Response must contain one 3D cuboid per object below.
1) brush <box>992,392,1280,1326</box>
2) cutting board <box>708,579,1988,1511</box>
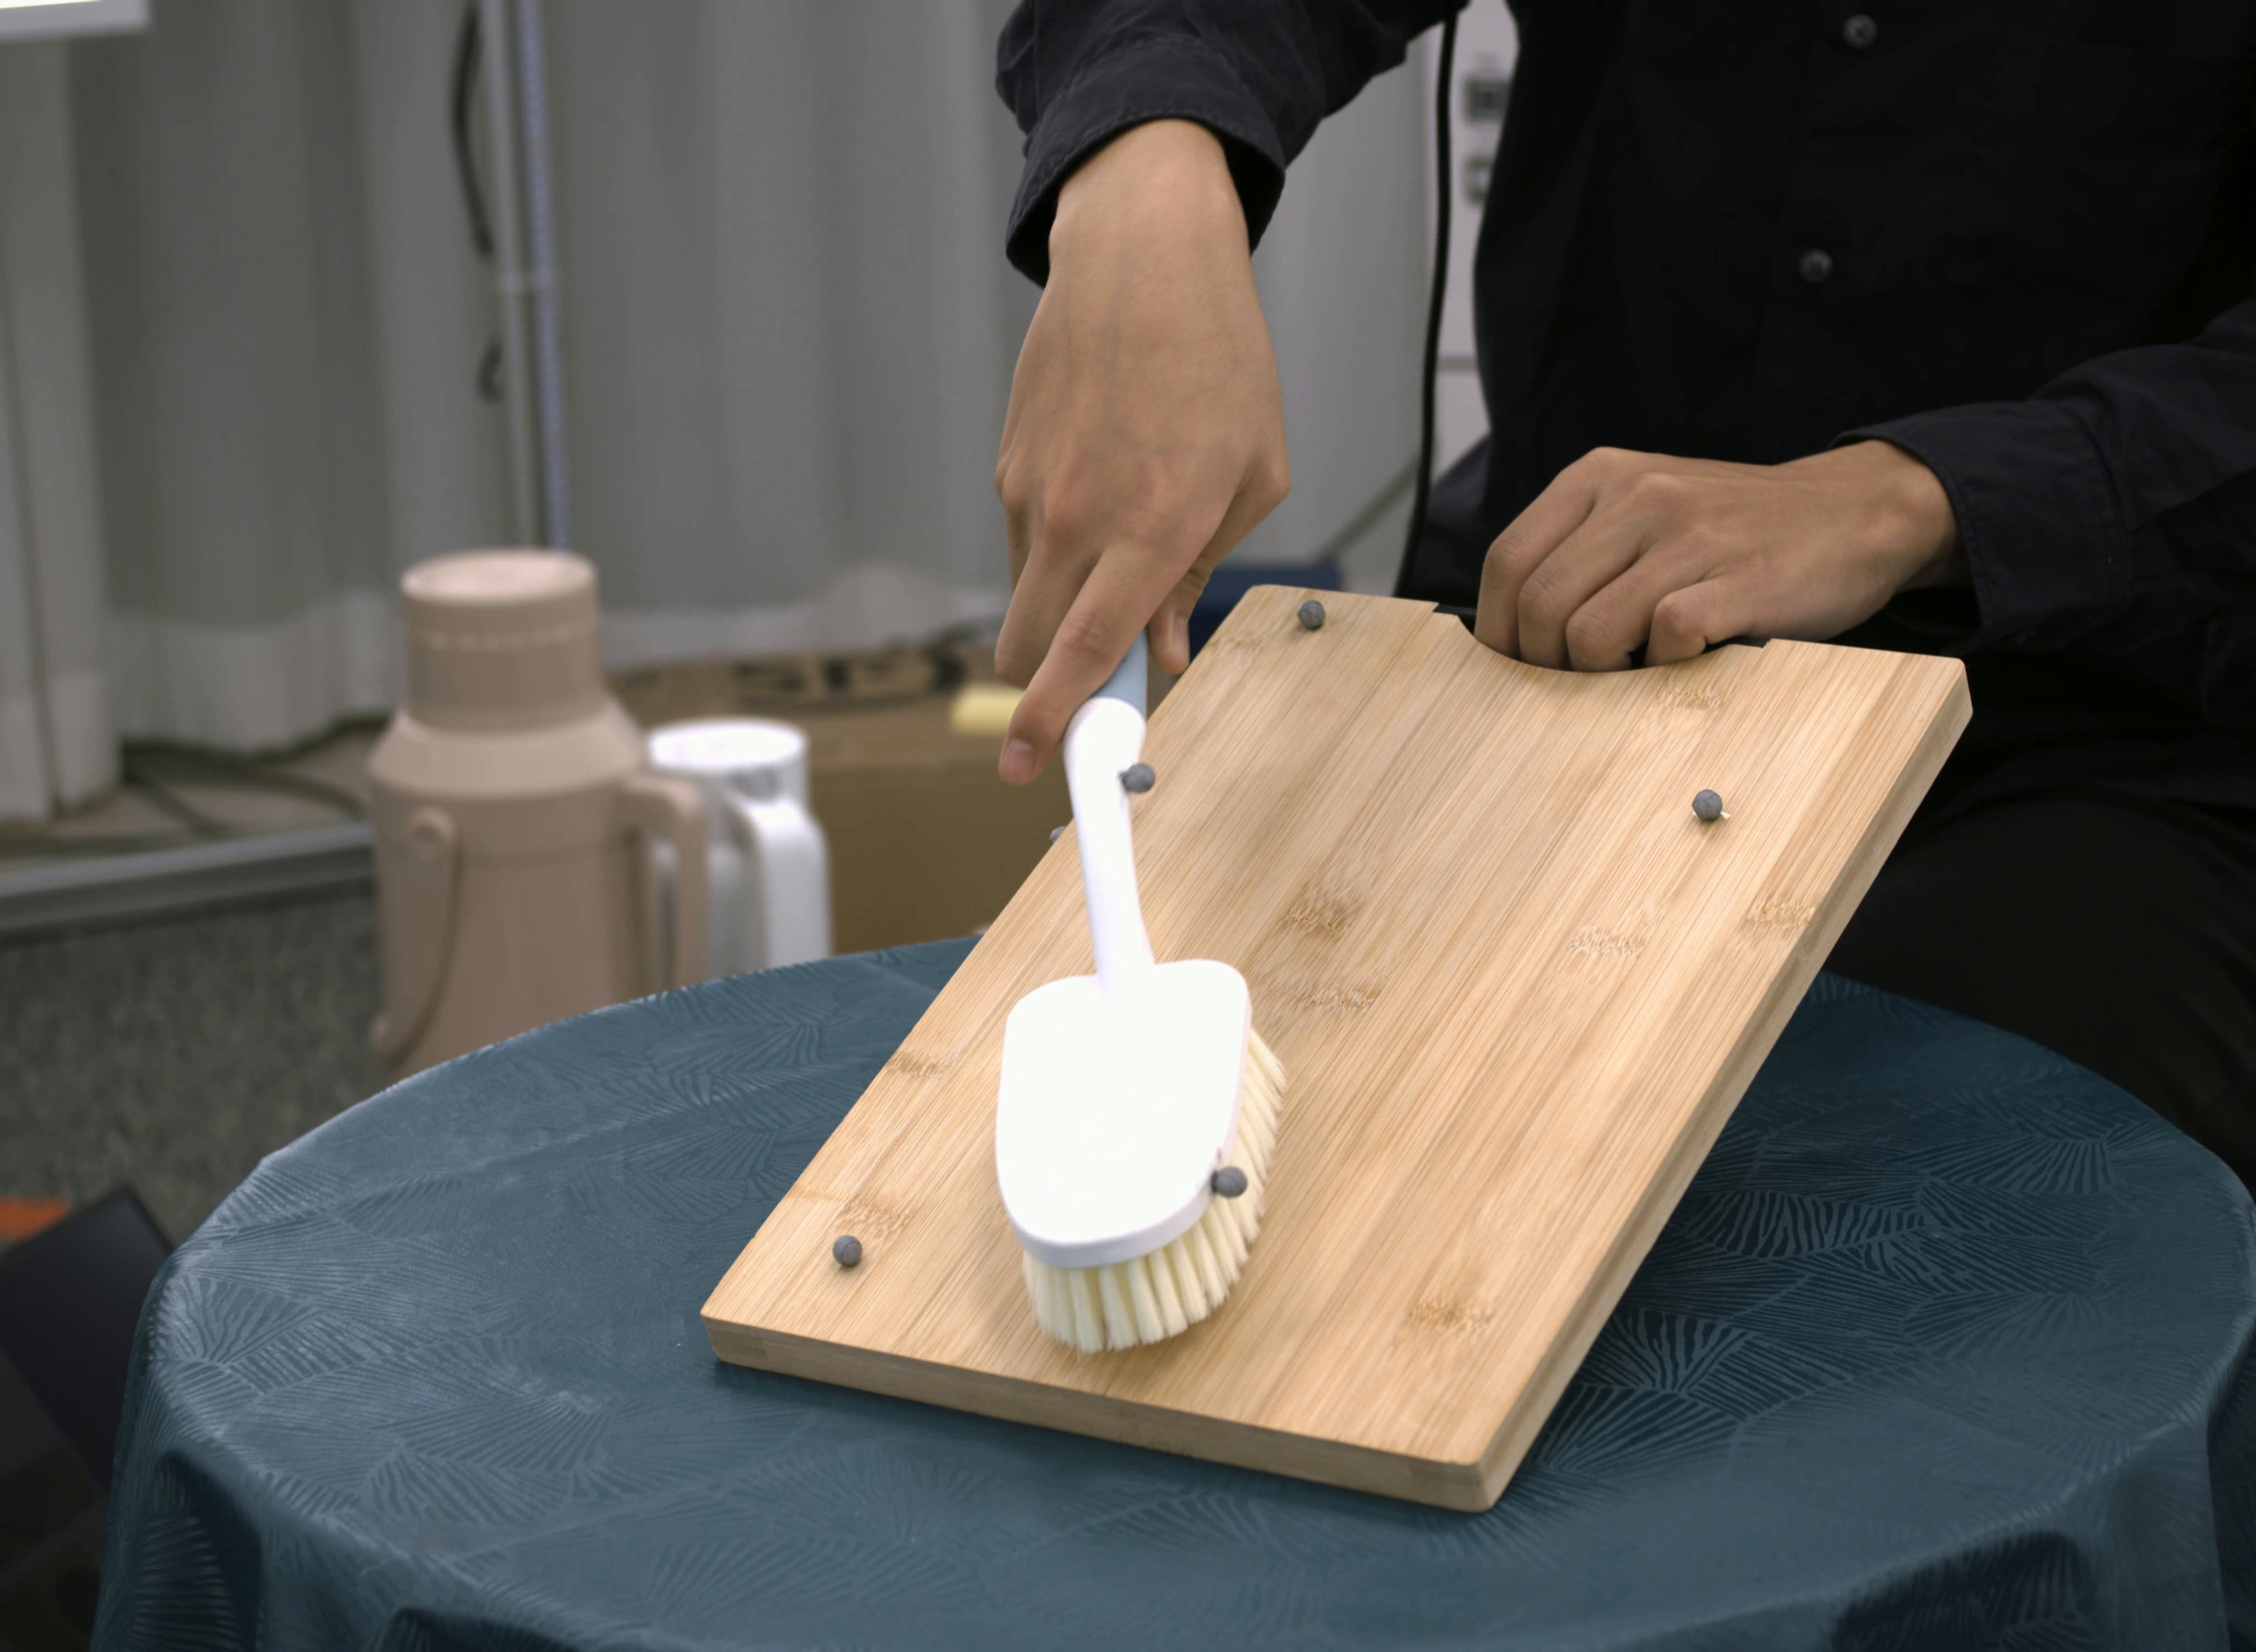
[{"bbox_3d":[0.006,0.012,1.485,0.082,0.085,0.328,17,44,-15],"label":"brush"},{"bbox_3d":[0.067,0.048,1.491,0.255,0.023,0.346,6,42,30],"label":"cutting board"}]
